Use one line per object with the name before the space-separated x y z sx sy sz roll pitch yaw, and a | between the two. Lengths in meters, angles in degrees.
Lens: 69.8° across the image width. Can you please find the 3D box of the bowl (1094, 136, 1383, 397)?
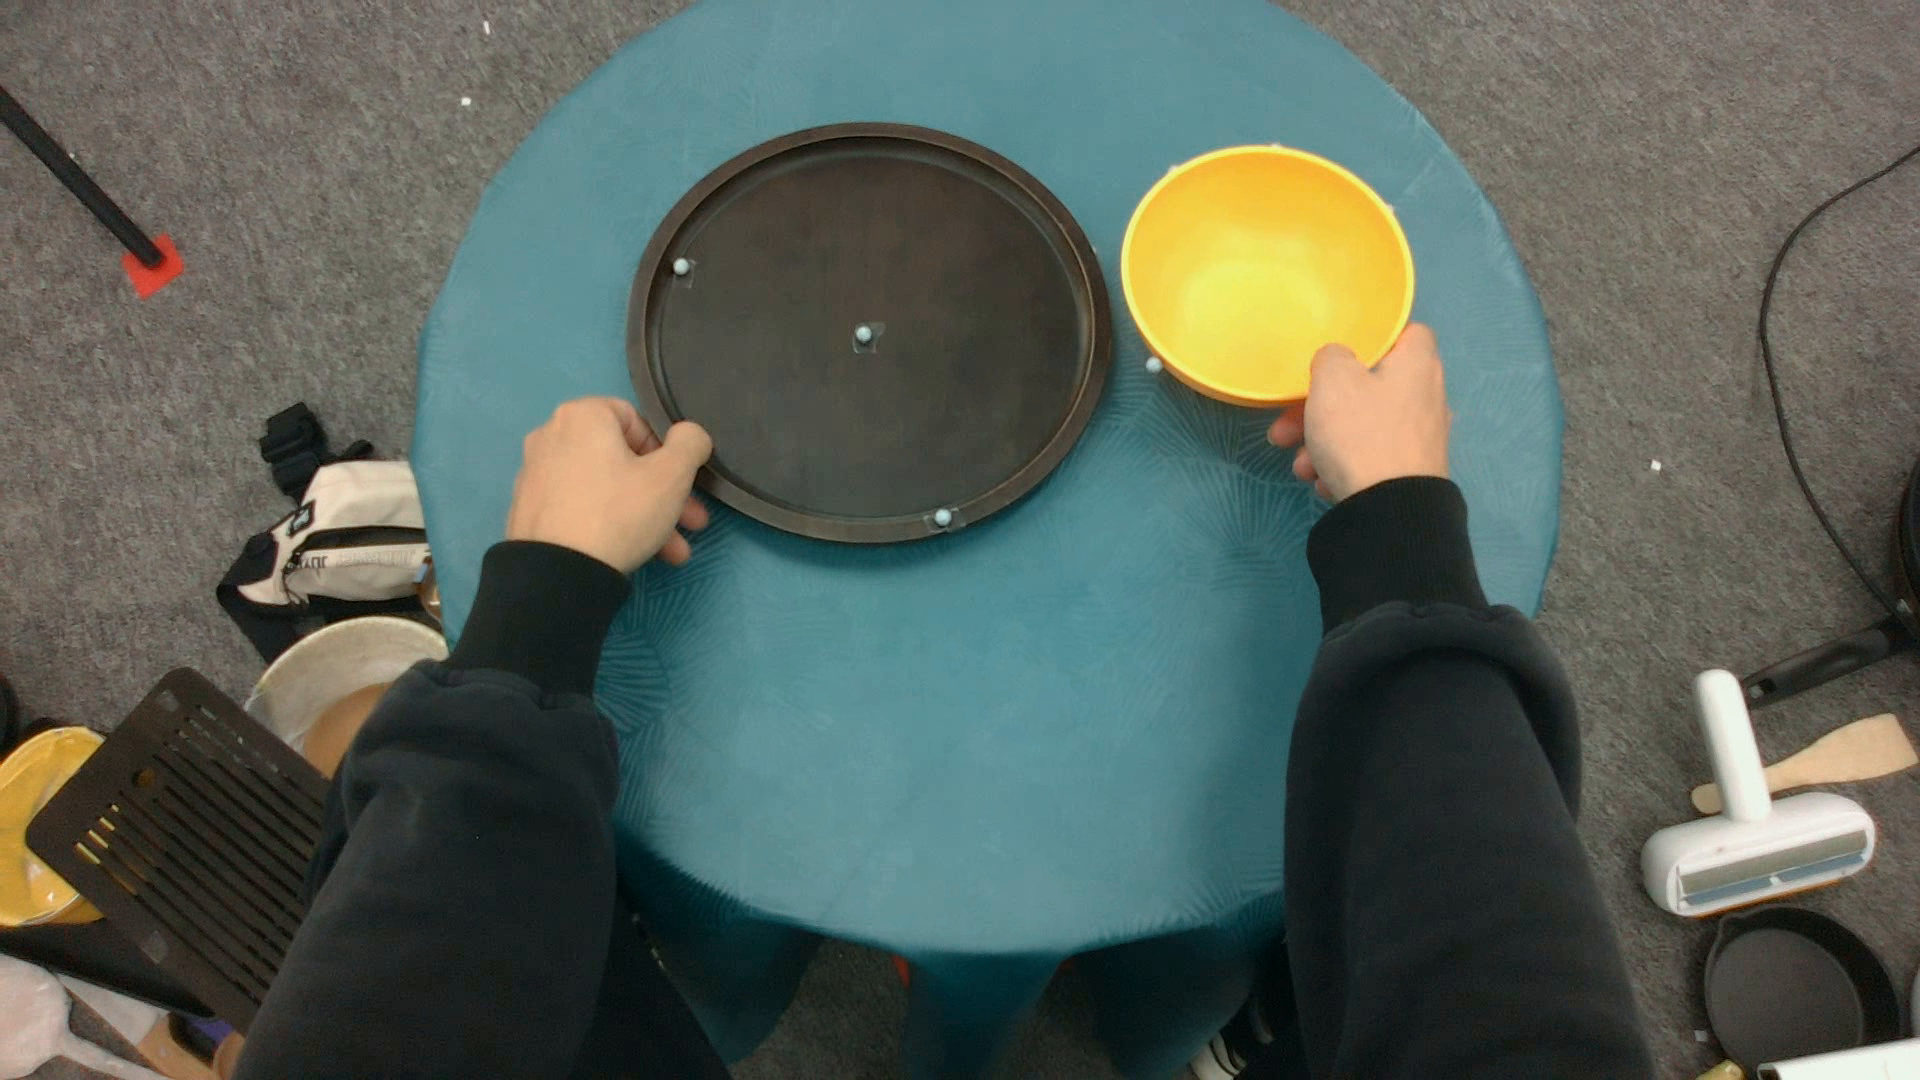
bowl | 0.140 -0.132 0.717 0.145 0.060 0.145 0 72 0

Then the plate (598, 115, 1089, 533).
plate | -0.059 -0.118 0.719 0.255 0.029 0.255 2 67 -5
